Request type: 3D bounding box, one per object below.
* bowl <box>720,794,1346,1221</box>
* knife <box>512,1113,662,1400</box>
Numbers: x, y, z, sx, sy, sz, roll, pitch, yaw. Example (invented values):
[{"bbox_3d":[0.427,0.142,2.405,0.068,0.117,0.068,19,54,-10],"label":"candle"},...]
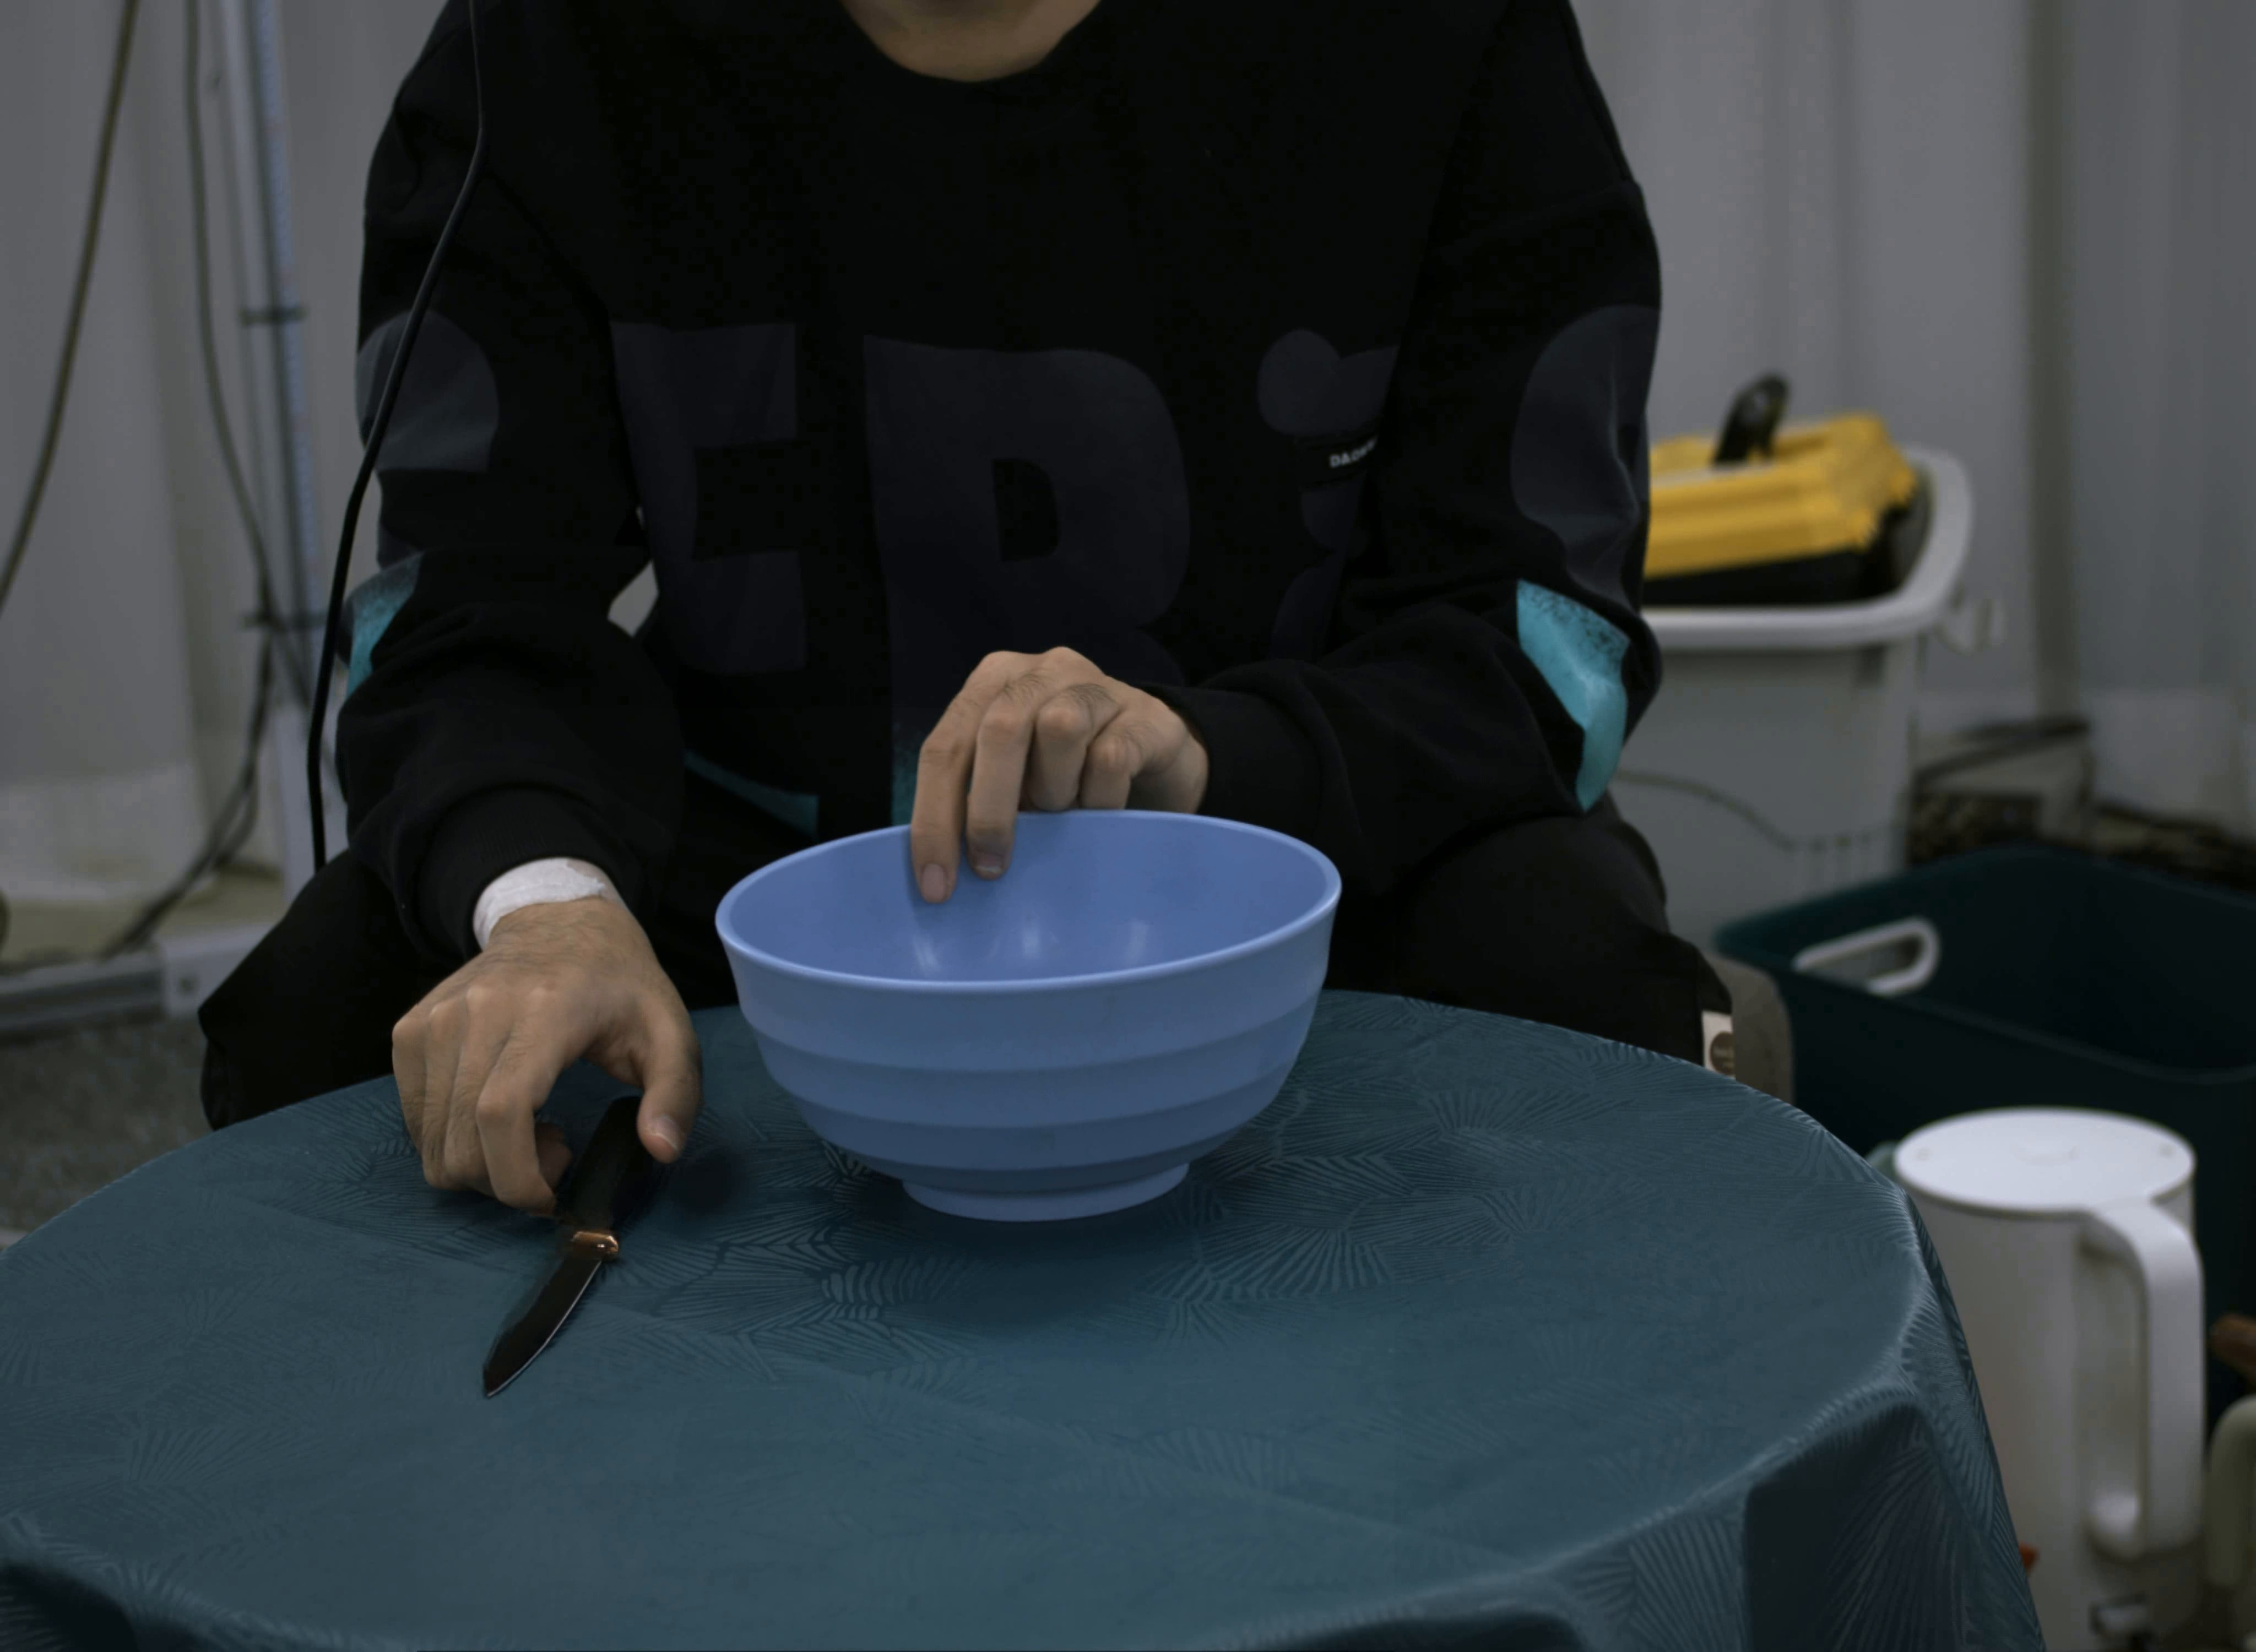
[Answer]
[{"bbox_3d":[-0.028,0.064,1.720,0.196,0.095,0.198,-3,18,1],"label":"bowl"},{"bbox_3d":[-0.168,0.130,1.670,0.026,0.017,0.227,4,17,3],"label":"knife"}]
